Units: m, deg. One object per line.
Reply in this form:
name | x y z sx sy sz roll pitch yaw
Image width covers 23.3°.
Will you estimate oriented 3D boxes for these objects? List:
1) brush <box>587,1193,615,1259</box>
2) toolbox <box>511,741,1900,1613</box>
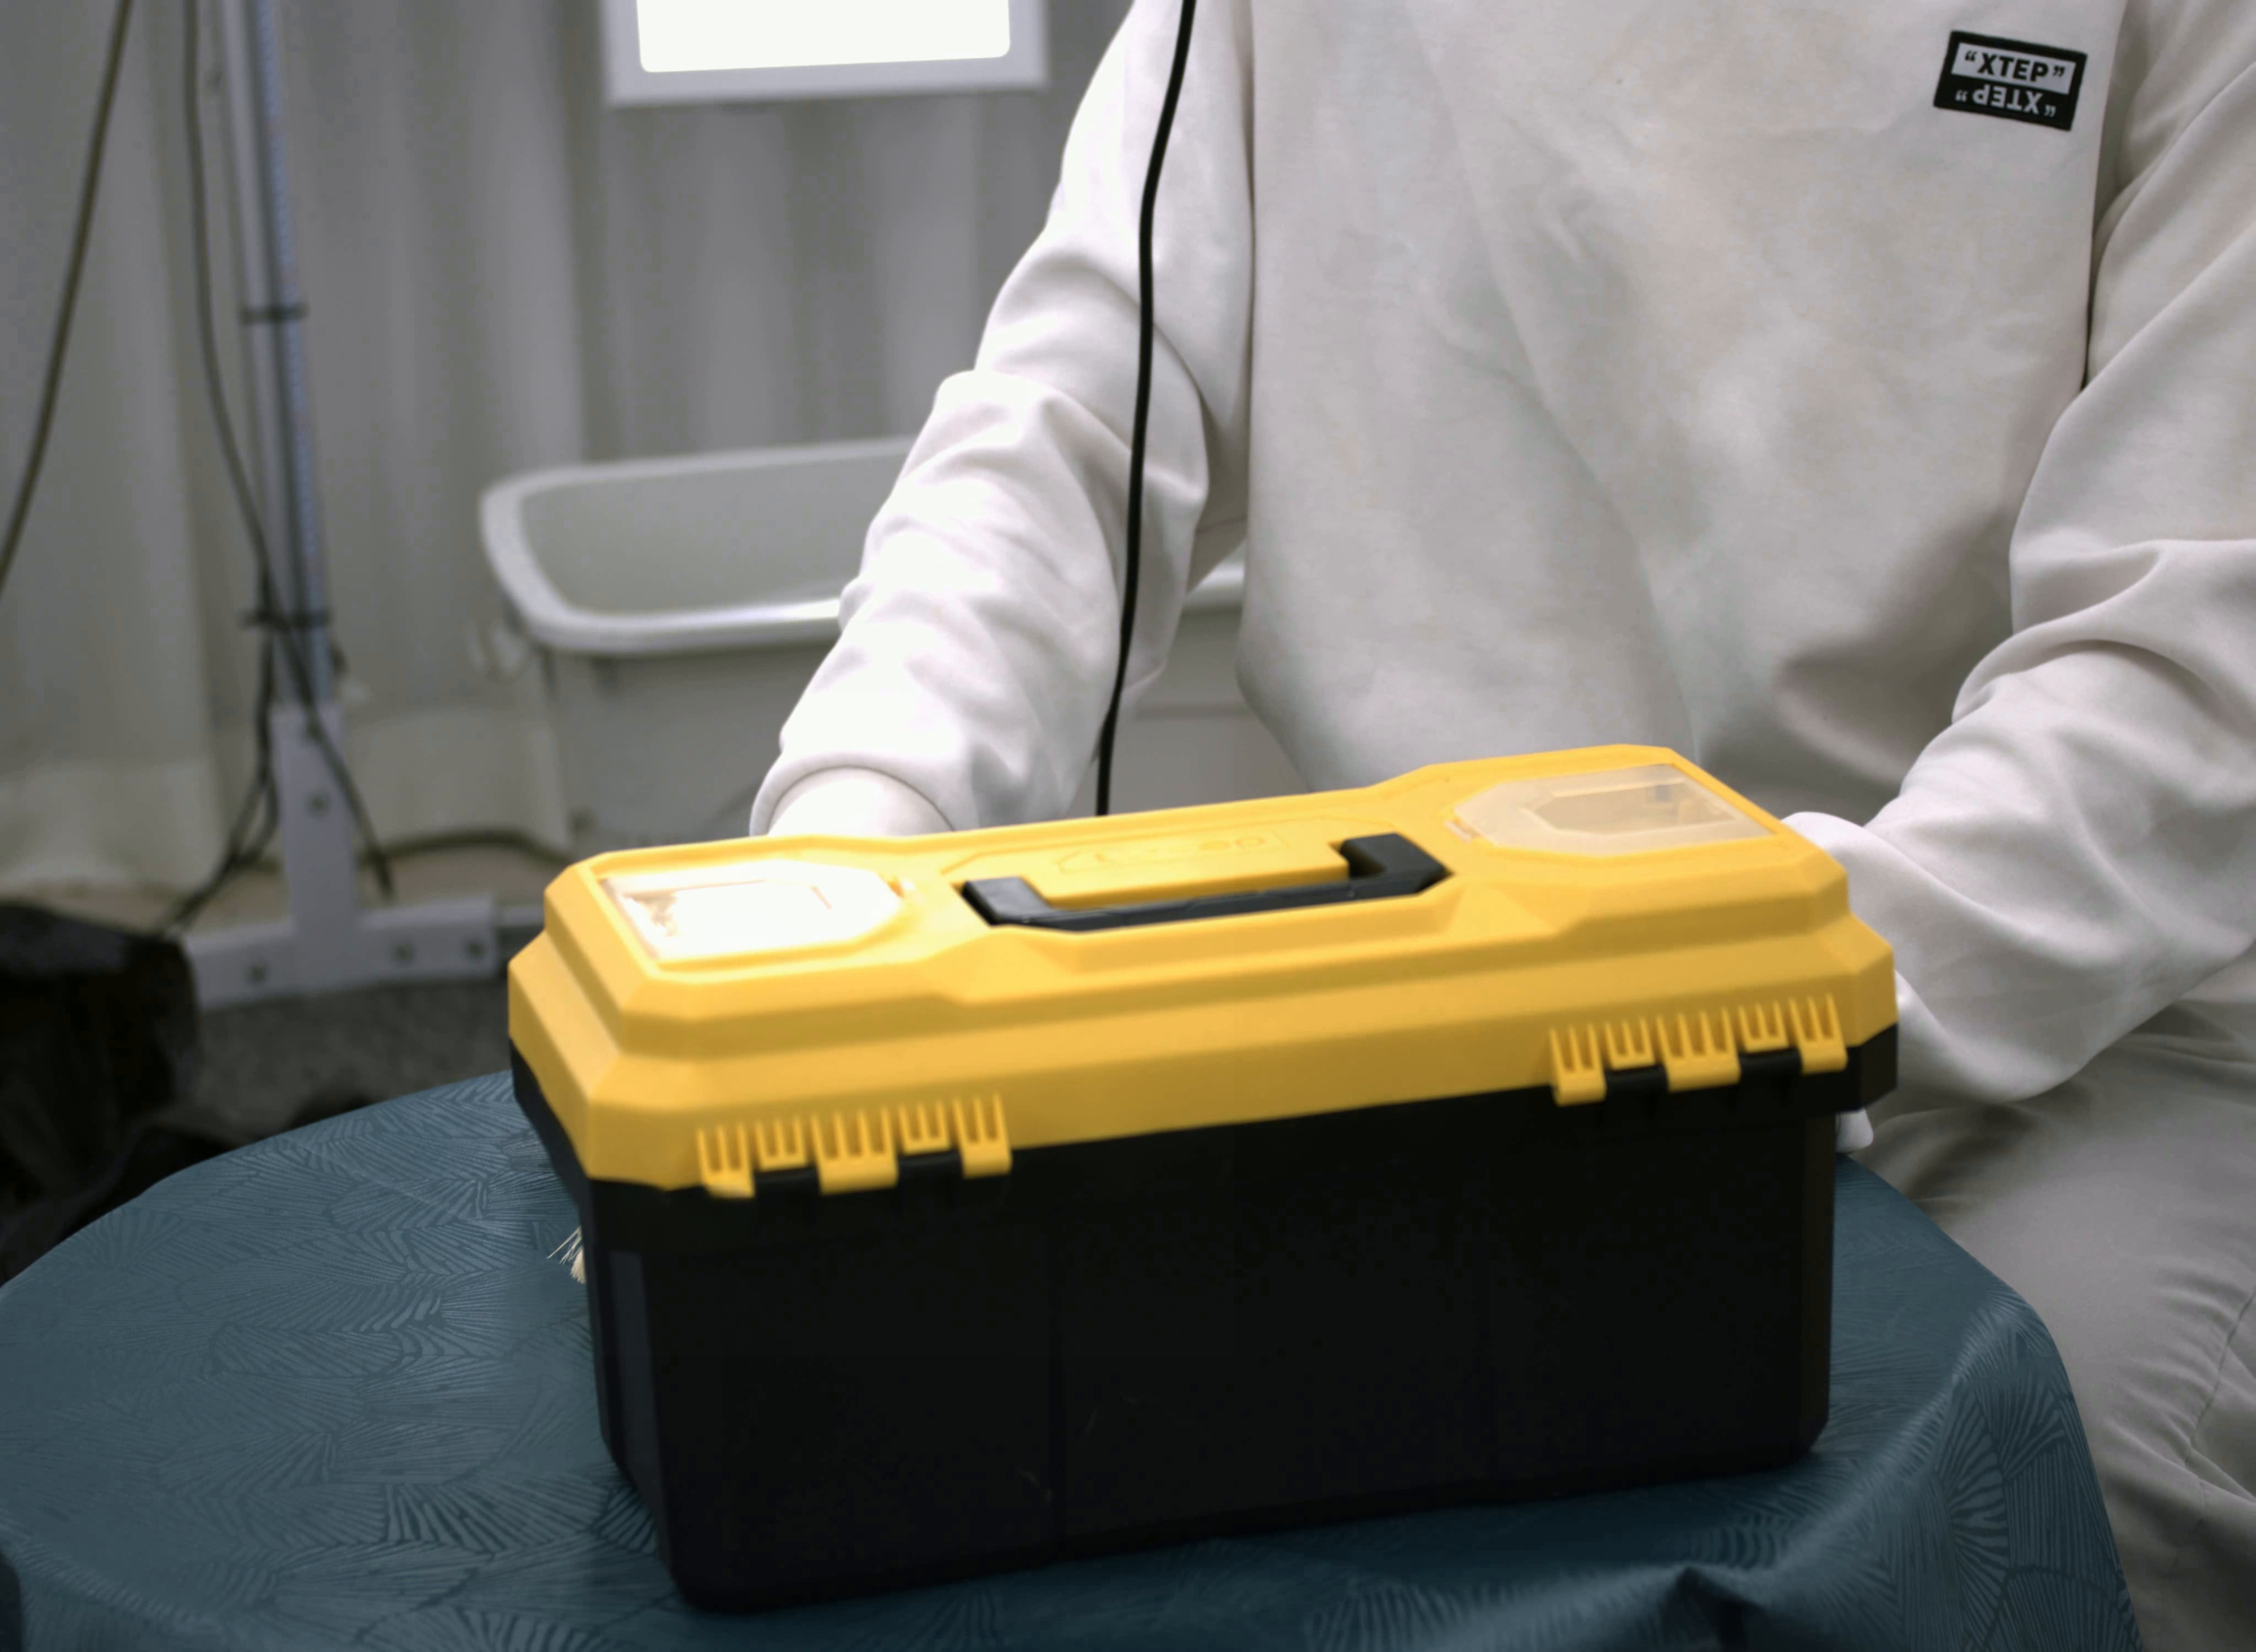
brush | -0.136 0.111 1.728 0.068 0.056 0.266 14 -2 -7
toolbox | 0.019 0.090 1.473 0.350 0.172 0.183 -6 16 -13
